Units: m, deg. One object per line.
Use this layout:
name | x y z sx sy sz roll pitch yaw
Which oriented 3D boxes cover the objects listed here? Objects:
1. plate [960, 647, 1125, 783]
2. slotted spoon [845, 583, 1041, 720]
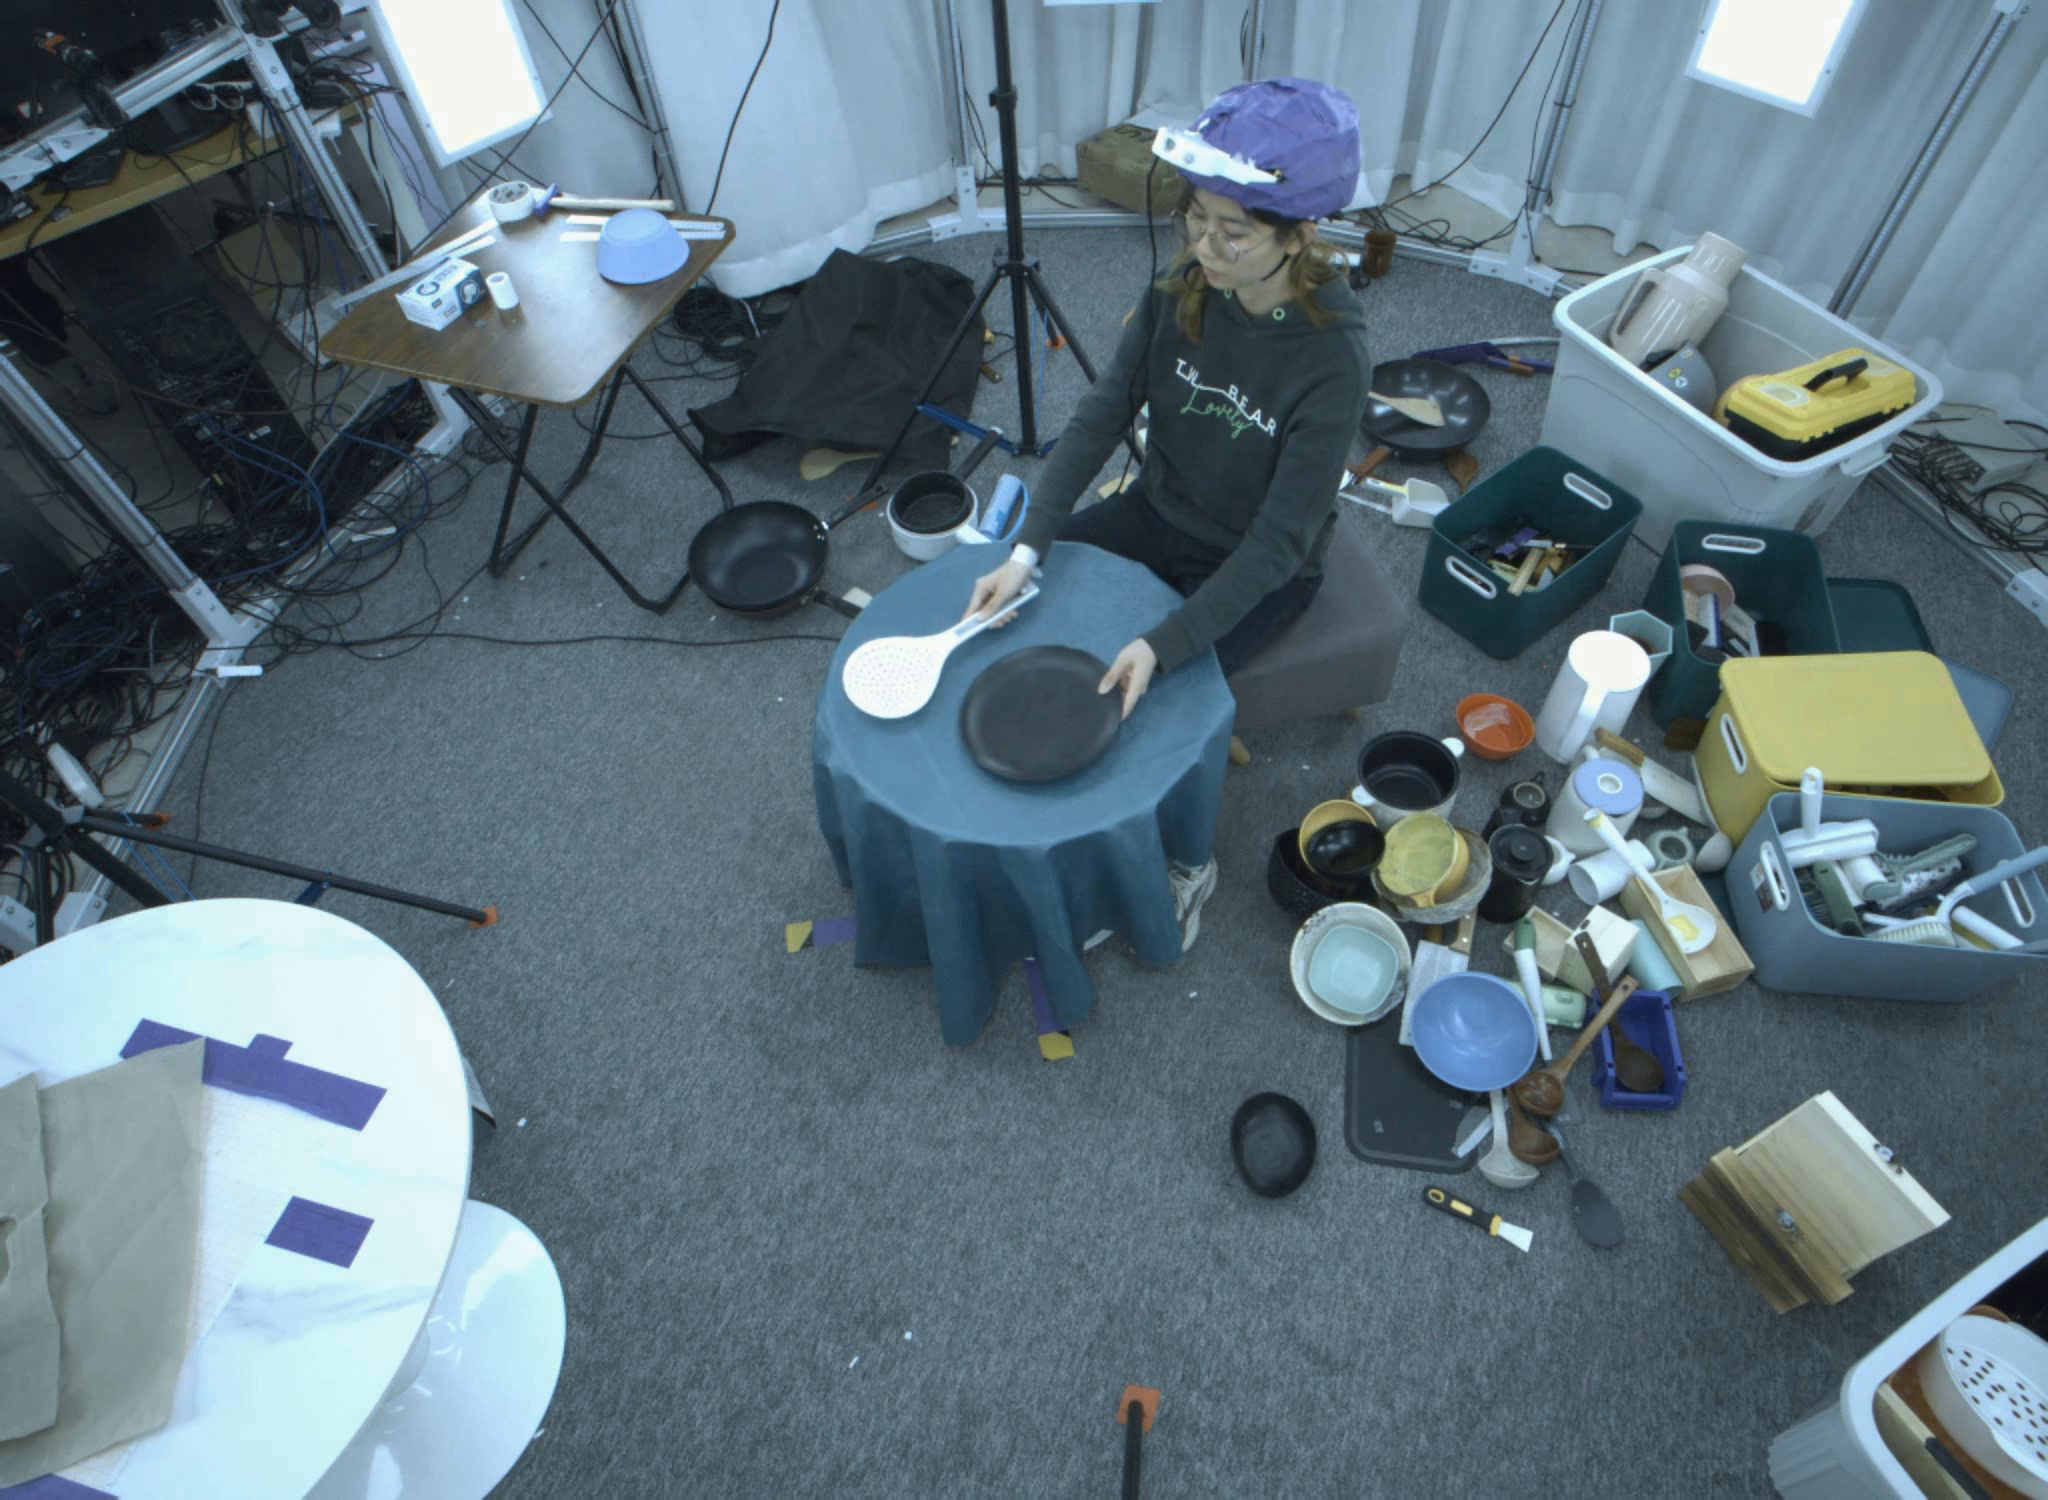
plate | 0.028 -0.049 1.803 0.243 0.024 0.242 -4 57 8
slotted spoon | -0.116 -0.161 1.873 0.352 0.046 0.134 -37 75 -17
